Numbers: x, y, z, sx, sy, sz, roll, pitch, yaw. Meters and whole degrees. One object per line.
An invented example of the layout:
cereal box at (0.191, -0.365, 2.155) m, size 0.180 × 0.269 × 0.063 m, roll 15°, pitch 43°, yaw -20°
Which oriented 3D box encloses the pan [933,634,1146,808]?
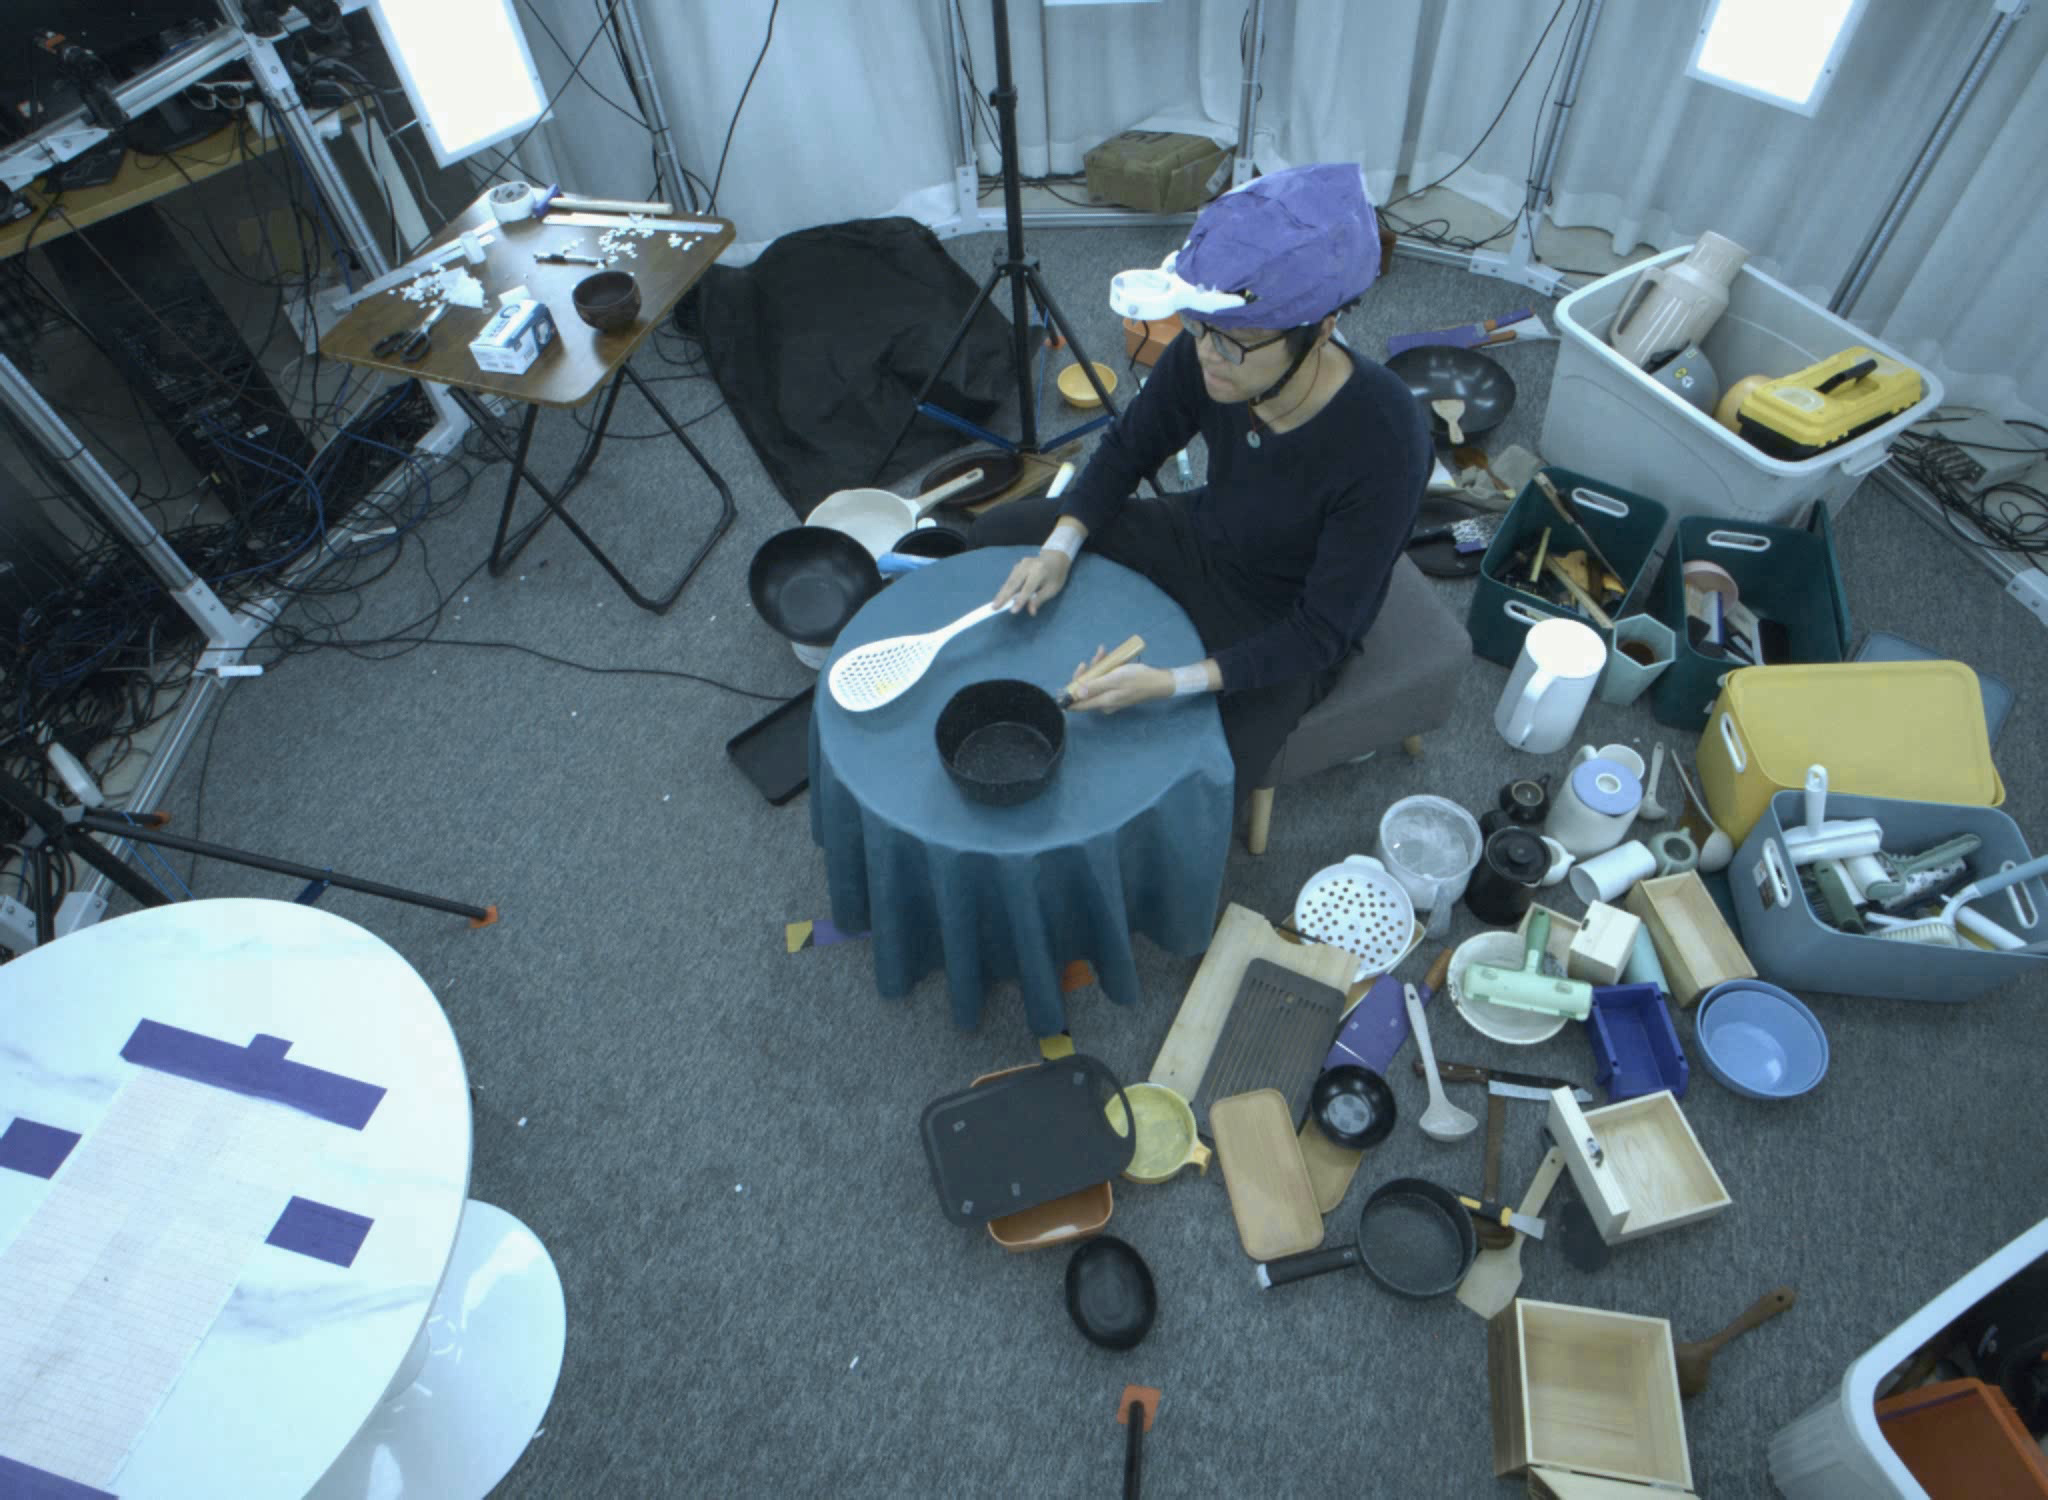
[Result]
pan at (0.033, -0.051, 1.755) m, size 0.345 × 0.109 × 0.203 m, roll -33°, pitch 58°, yaw -17°

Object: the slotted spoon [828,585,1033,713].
slotted spoon at (-0.134, -0.162, 1.855) m, size 0.349 × 0.051 × 0.134 m, roll -35°, pitch 50°, yaw -7°
